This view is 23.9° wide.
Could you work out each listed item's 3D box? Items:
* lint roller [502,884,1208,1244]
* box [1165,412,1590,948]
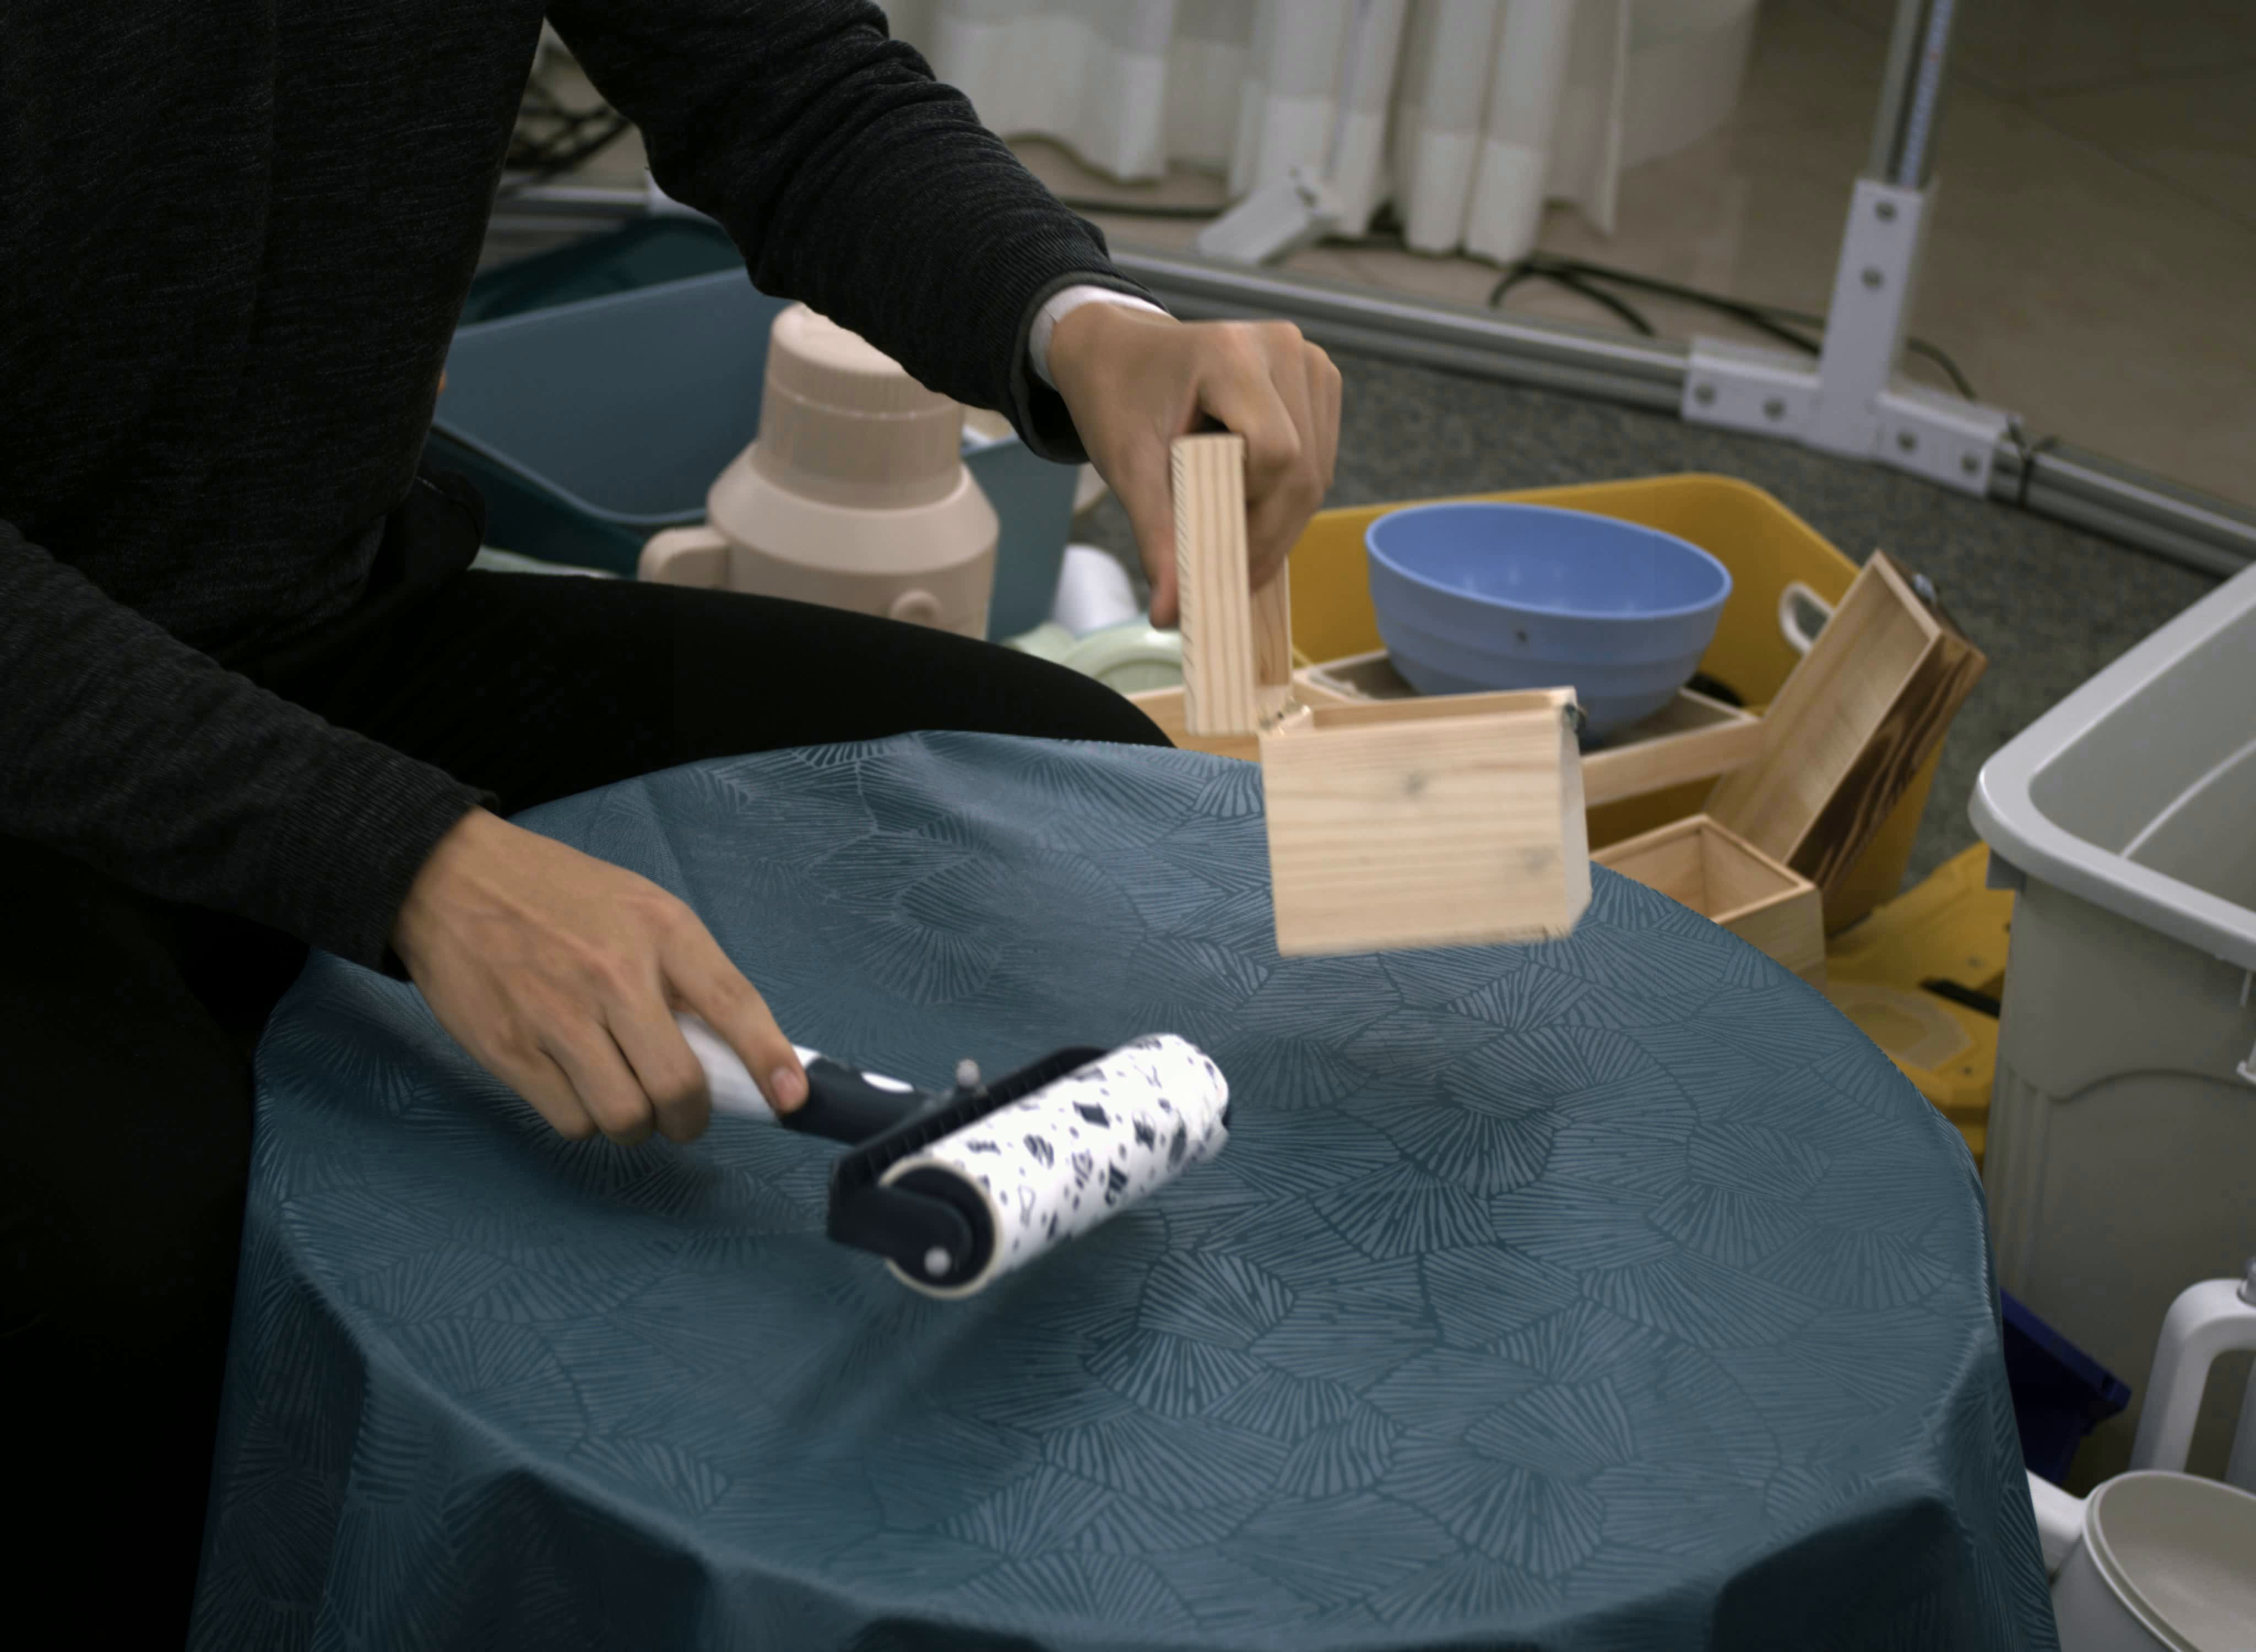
[{"bbox_3d":[-0.115,0.064,1.766,0.248,0.050,0.175,25,20,32],"label":"lint roller"},{"bbox_3d":[0.090,-0.056,1.854,0.134,0.185,0.102,-5,3,10],"label":"box"}]
